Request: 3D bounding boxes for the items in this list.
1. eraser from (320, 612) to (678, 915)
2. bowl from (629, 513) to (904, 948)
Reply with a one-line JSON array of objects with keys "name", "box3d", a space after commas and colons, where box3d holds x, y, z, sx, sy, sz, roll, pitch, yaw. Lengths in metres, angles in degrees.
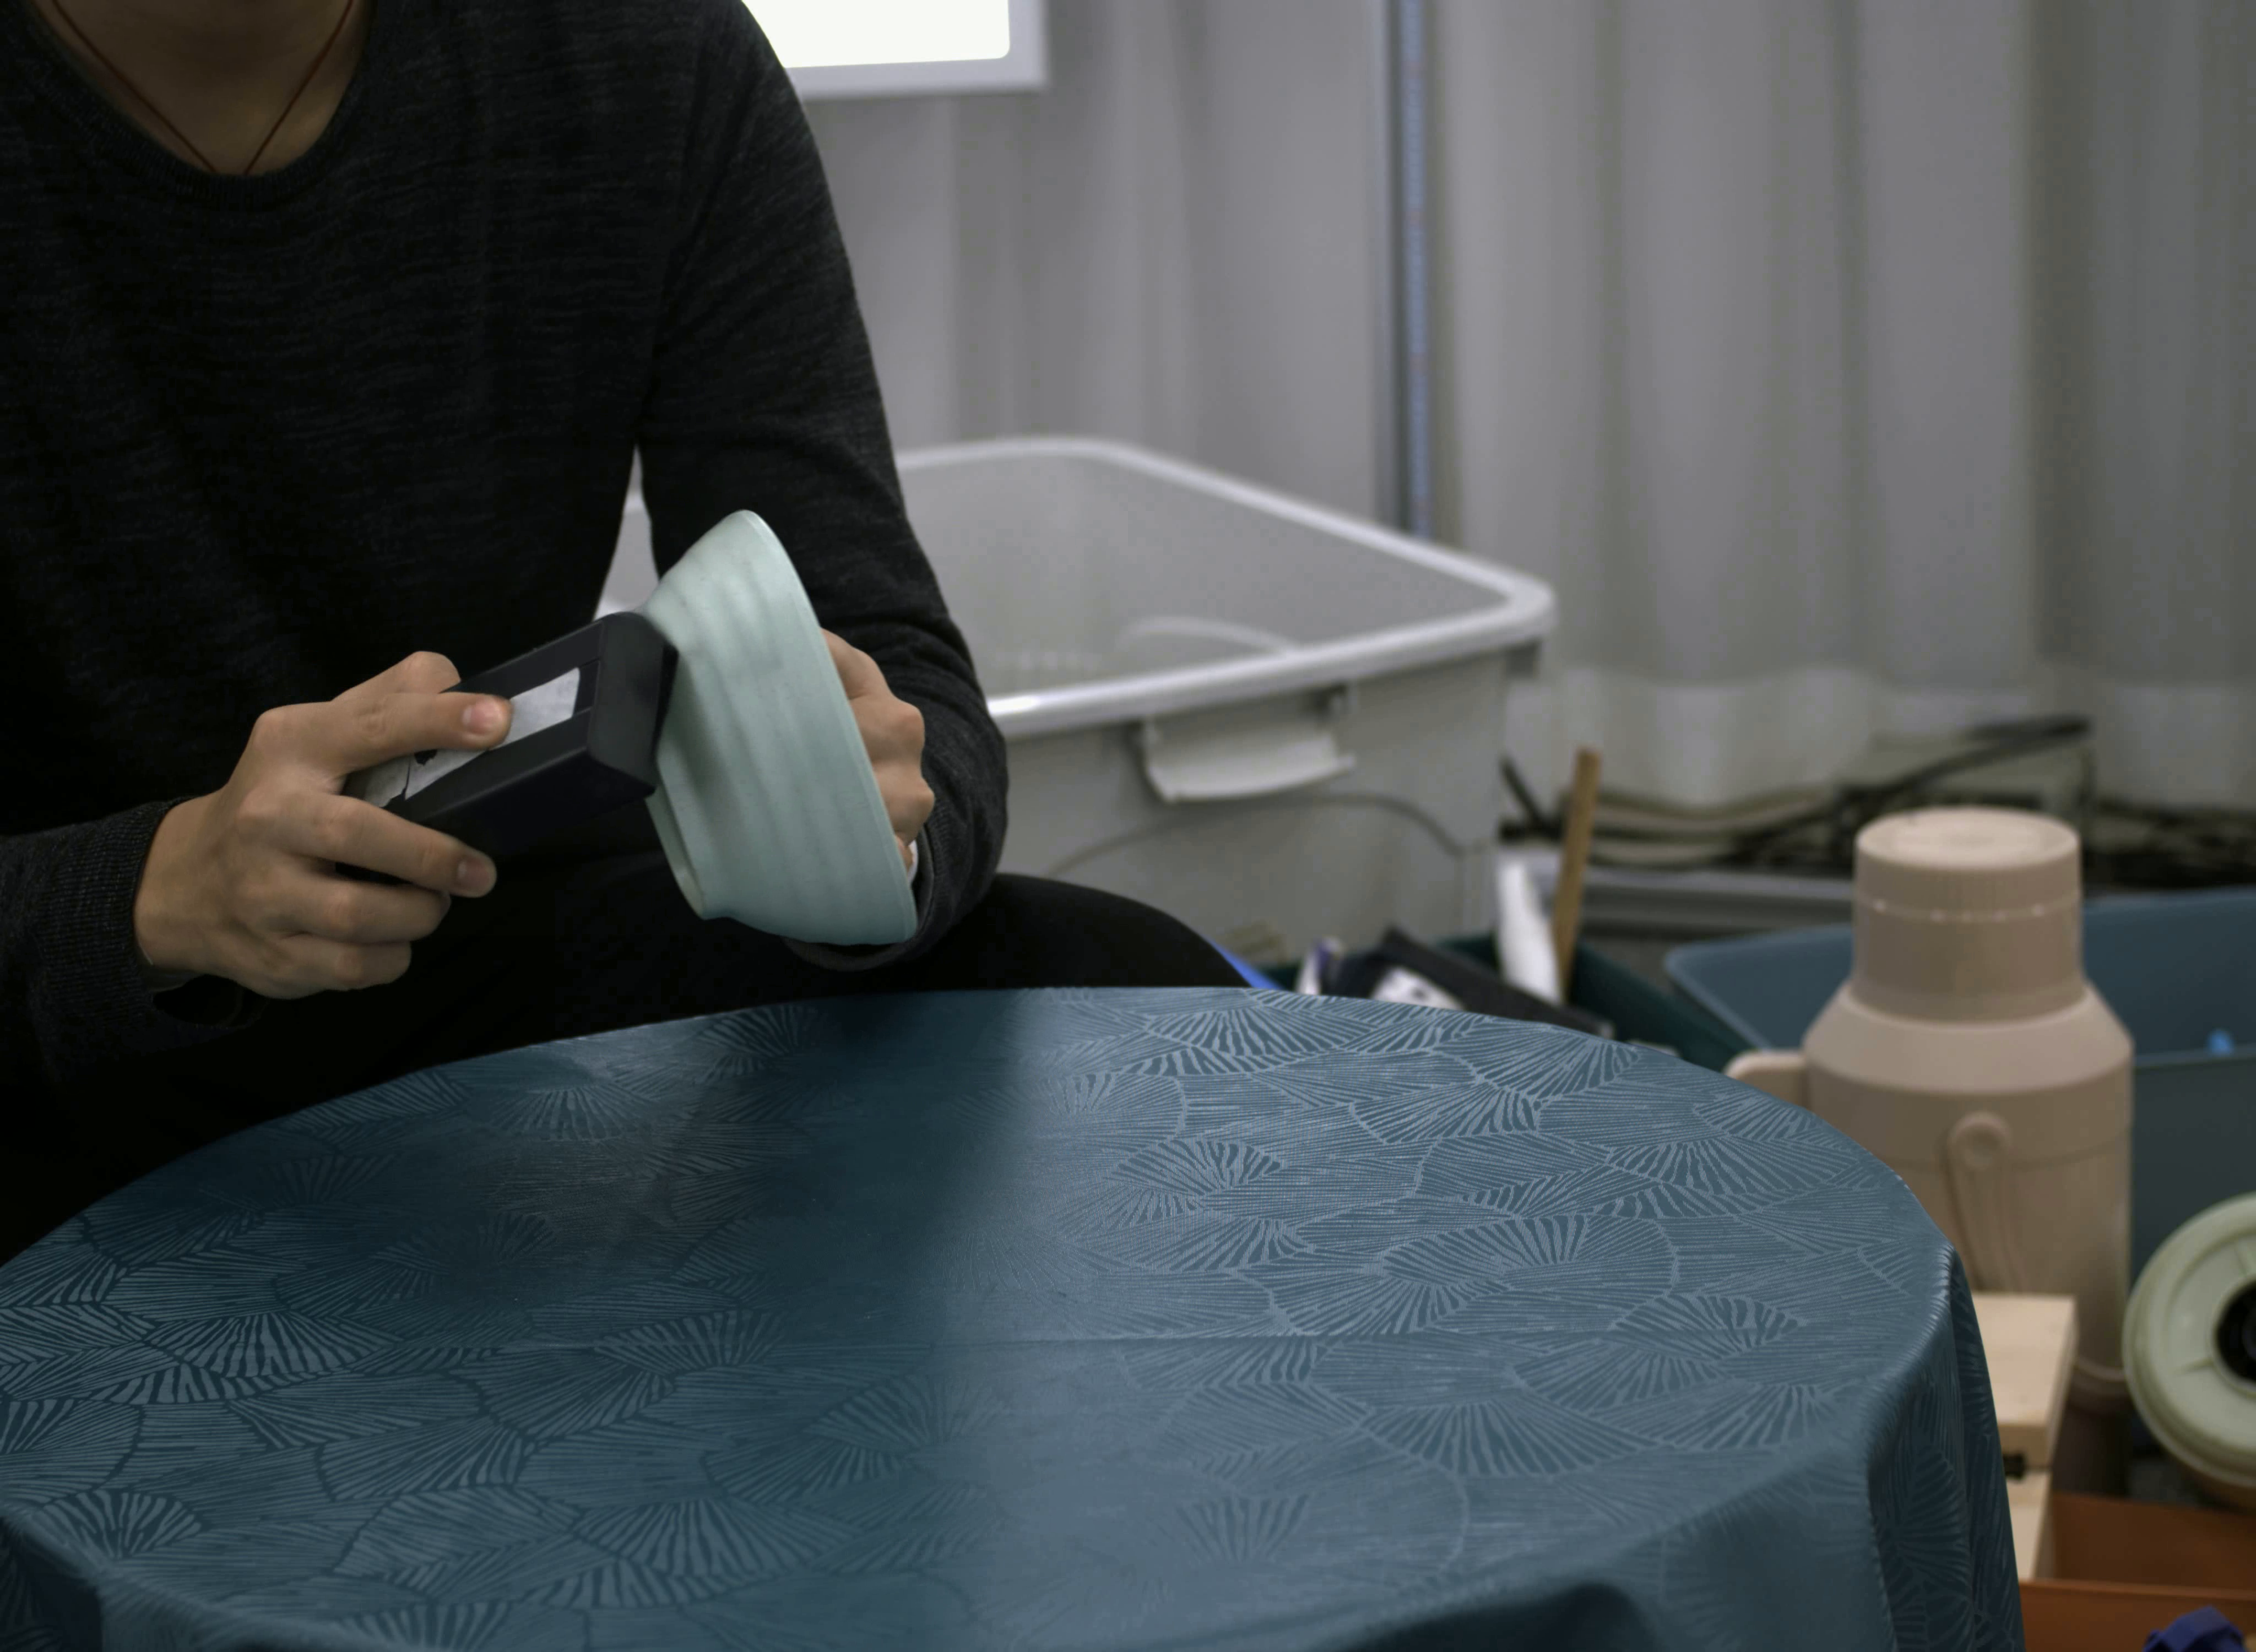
[{"name": "eraser", "box3d": [-0.186, -0.018, 1.623, 0.125, 0.054, 0.030, -24, -44, 36]}, {"name": "bowl", "box3d": [-0.120, -0.021, 1.662, 0.058, 0.150, 0.152, -20, 17, -7]}]
